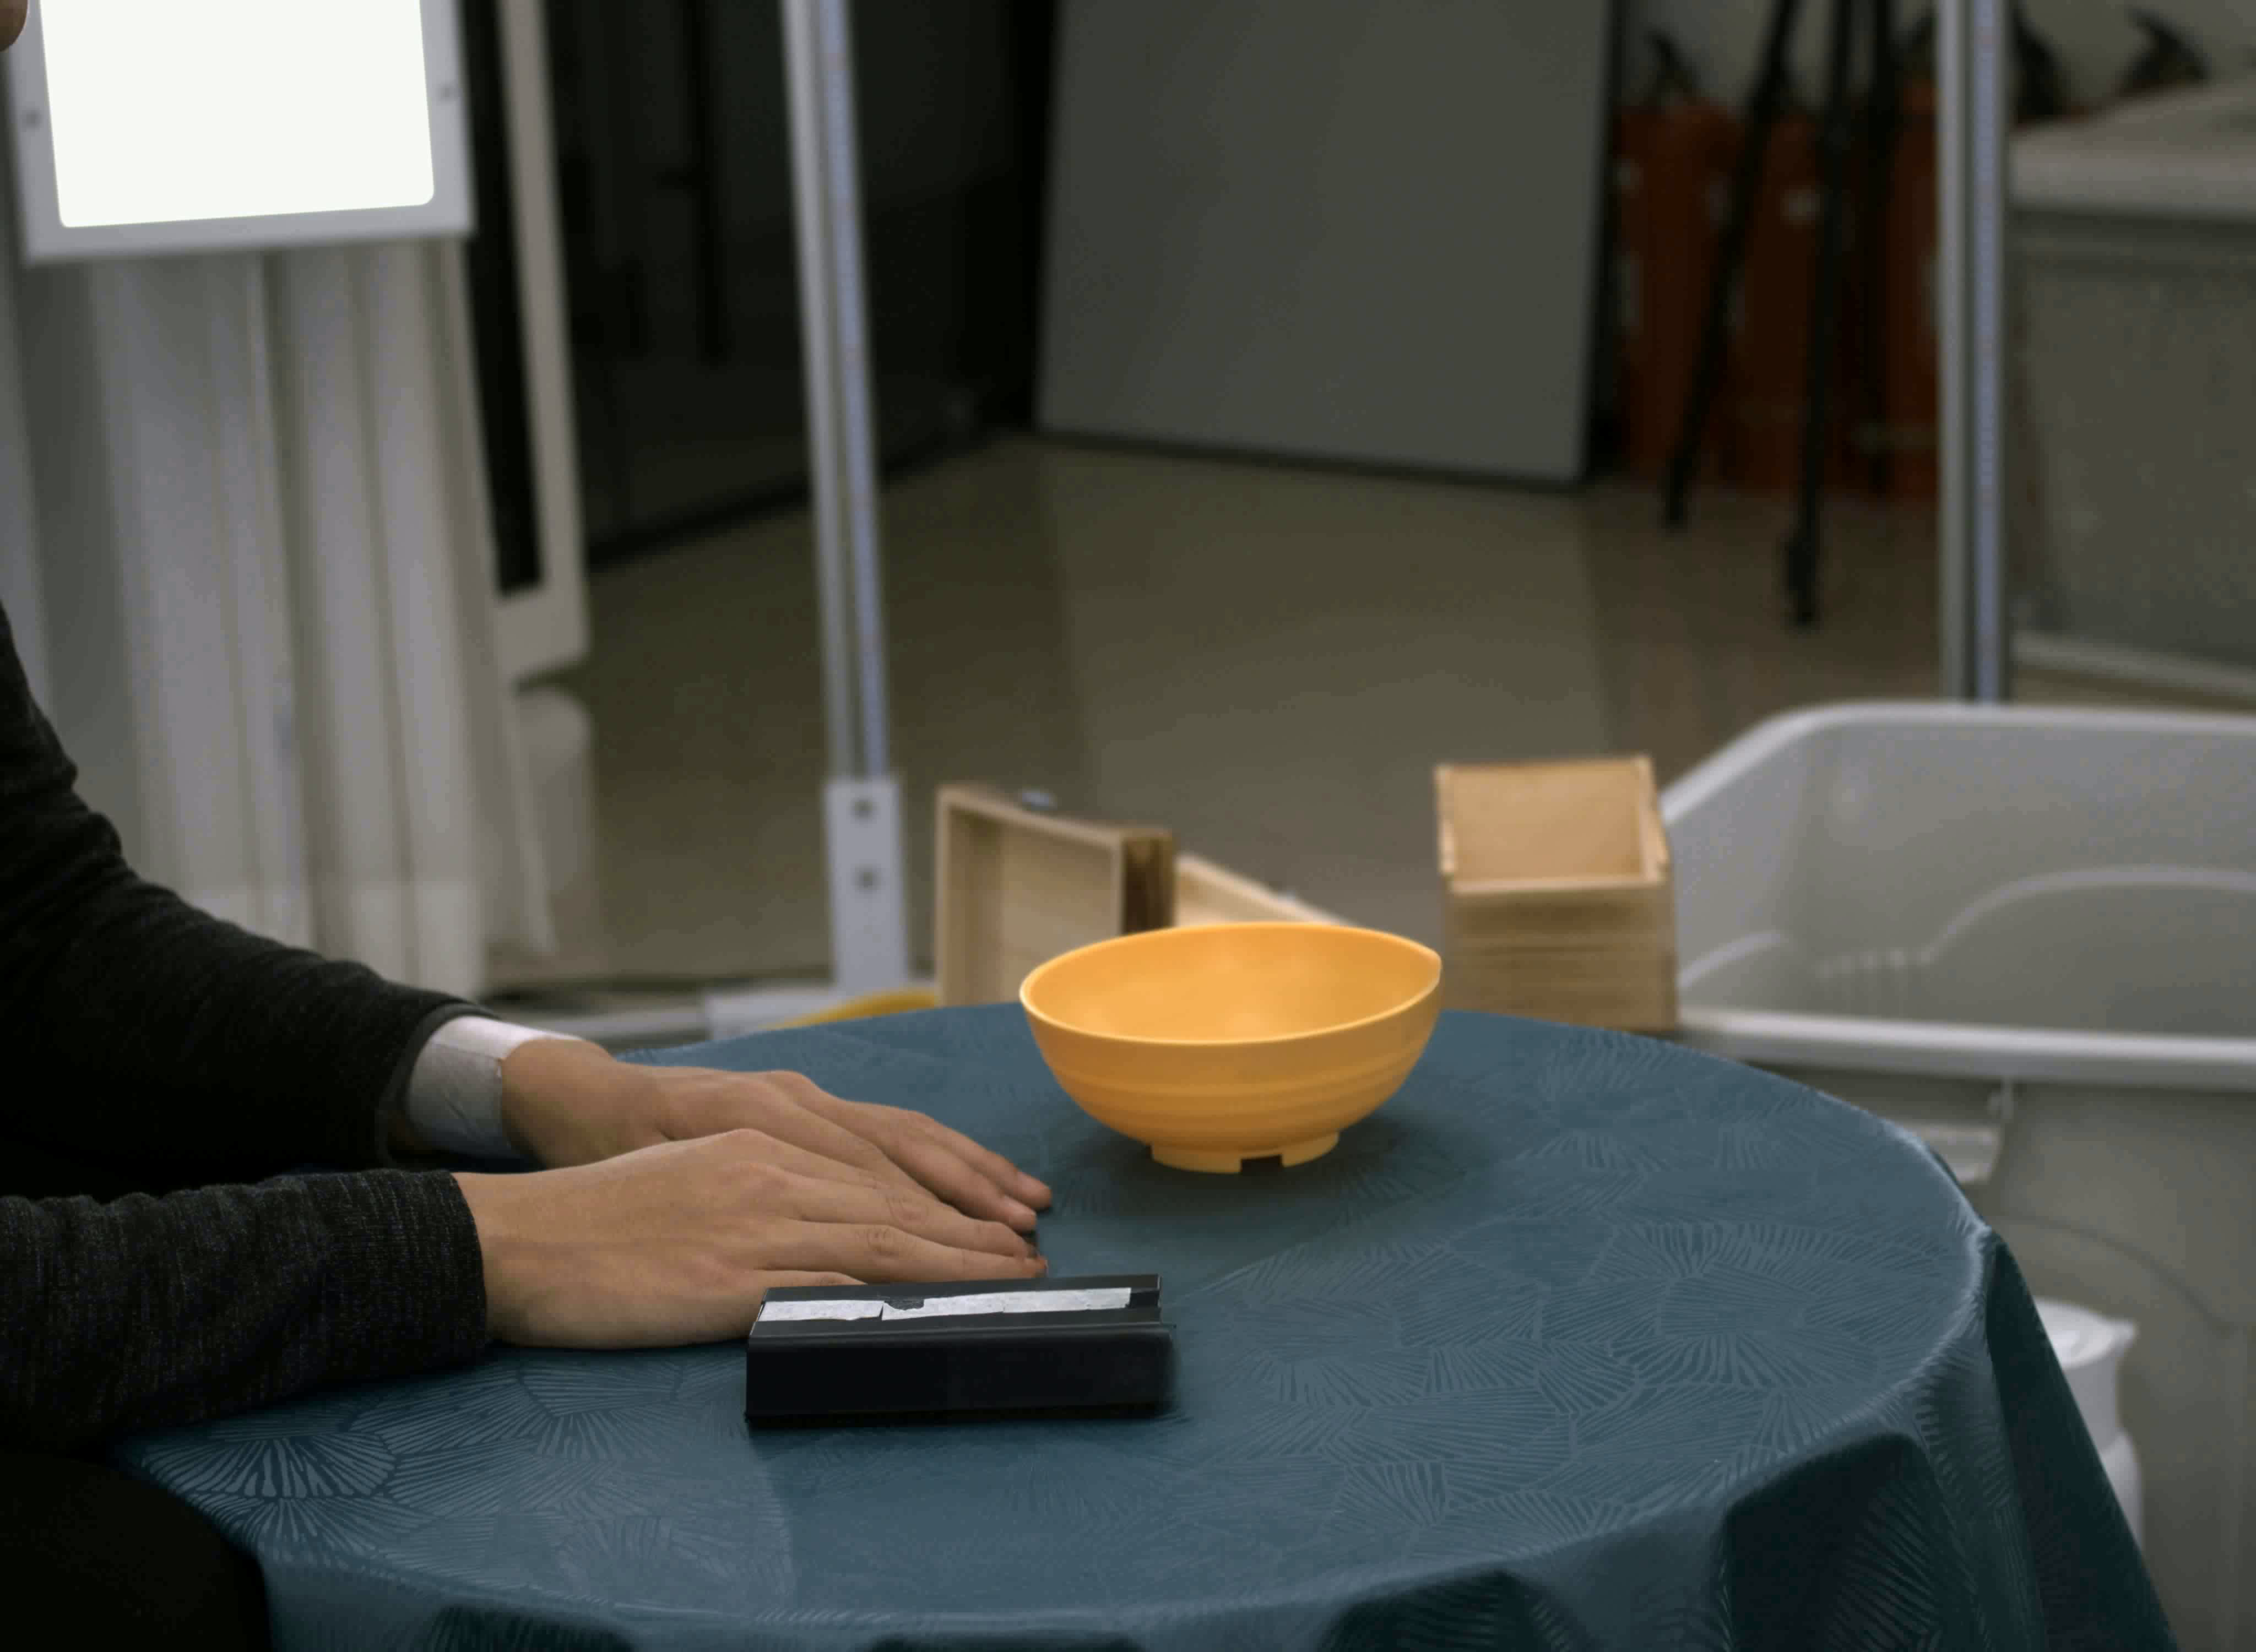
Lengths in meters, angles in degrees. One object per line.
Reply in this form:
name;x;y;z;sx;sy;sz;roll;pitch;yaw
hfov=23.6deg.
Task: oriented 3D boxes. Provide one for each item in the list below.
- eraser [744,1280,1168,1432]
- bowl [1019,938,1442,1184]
eraser;-0.048;0.155;1.585;0.124;0.031;0.053;-3;10;5
bowl;0.037;0.082;1.802;0.143;0.061;0.145;-6;12;0
